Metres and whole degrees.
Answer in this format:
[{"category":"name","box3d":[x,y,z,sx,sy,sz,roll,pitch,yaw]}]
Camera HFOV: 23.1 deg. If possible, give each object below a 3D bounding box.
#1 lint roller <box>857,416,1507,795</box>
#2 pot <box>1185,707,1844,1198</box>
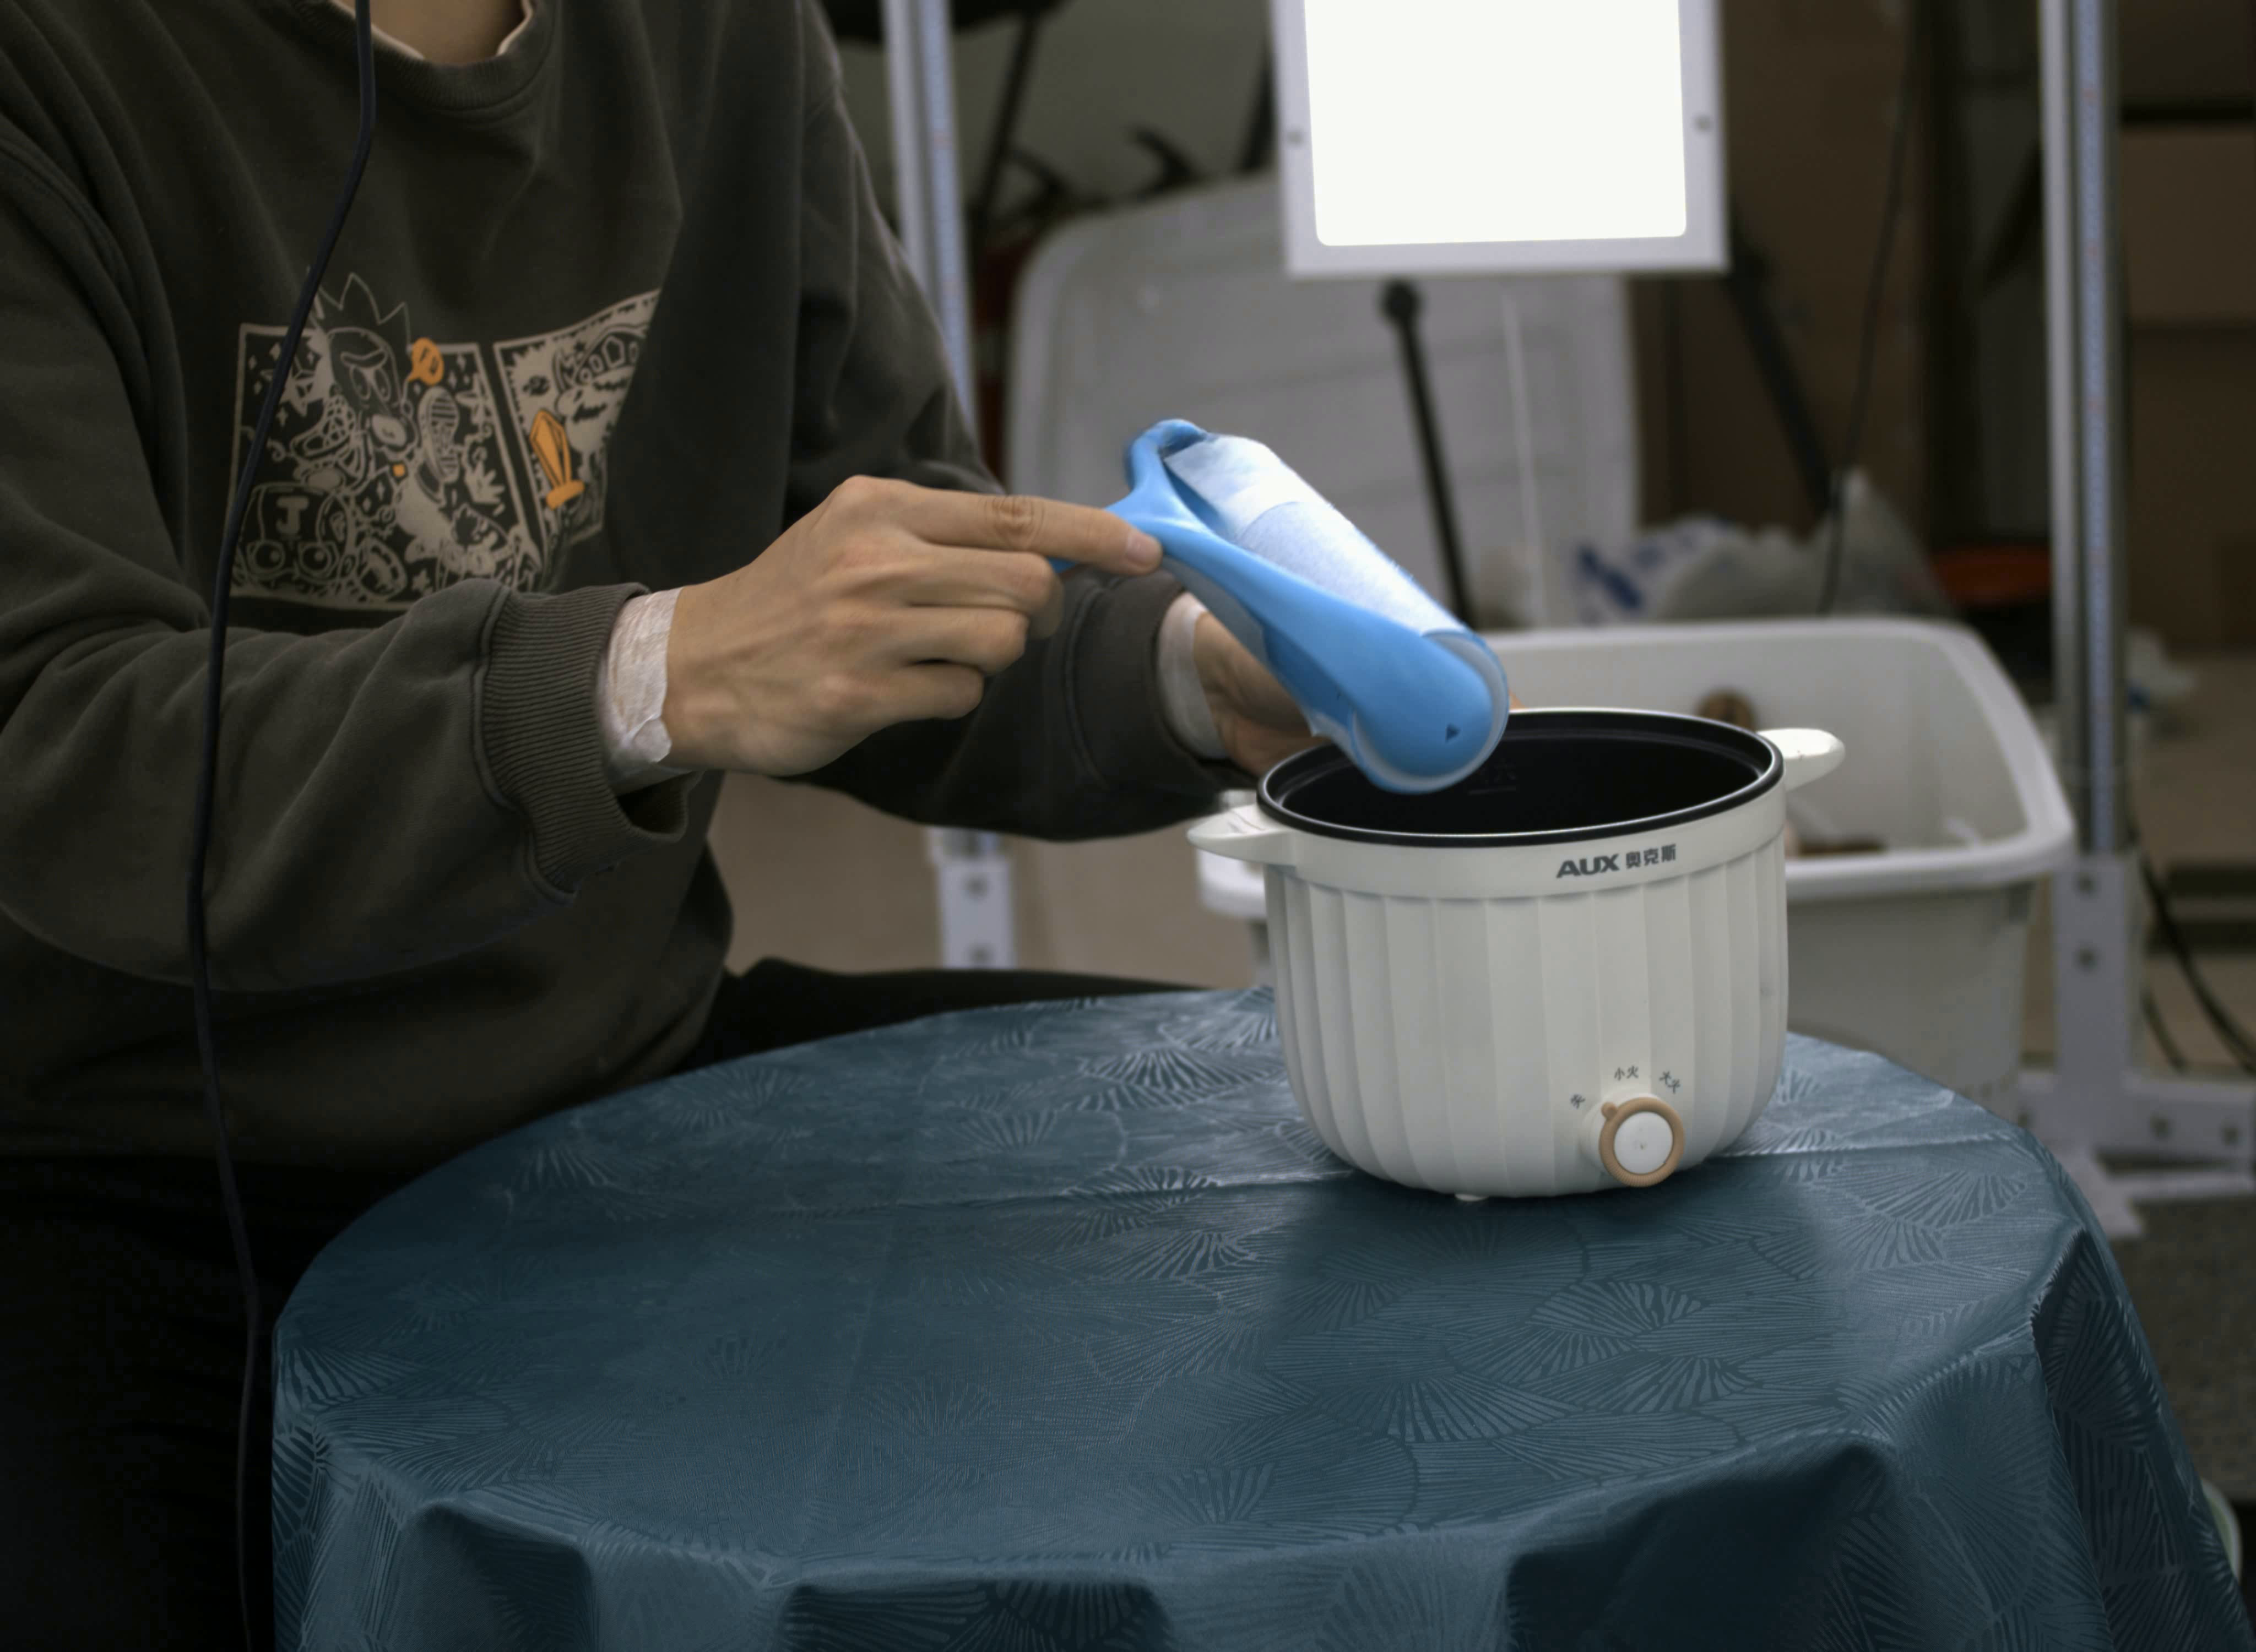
[{"category":"lint roller","box3d":[0.005,-0.070,1.733,0.177,0.068,0.231,-2,24,-22]},{"category":"pot","box3d":[0.142,0.045,1.884,0.237,0.143,0.192,-10,12,-14]}]
